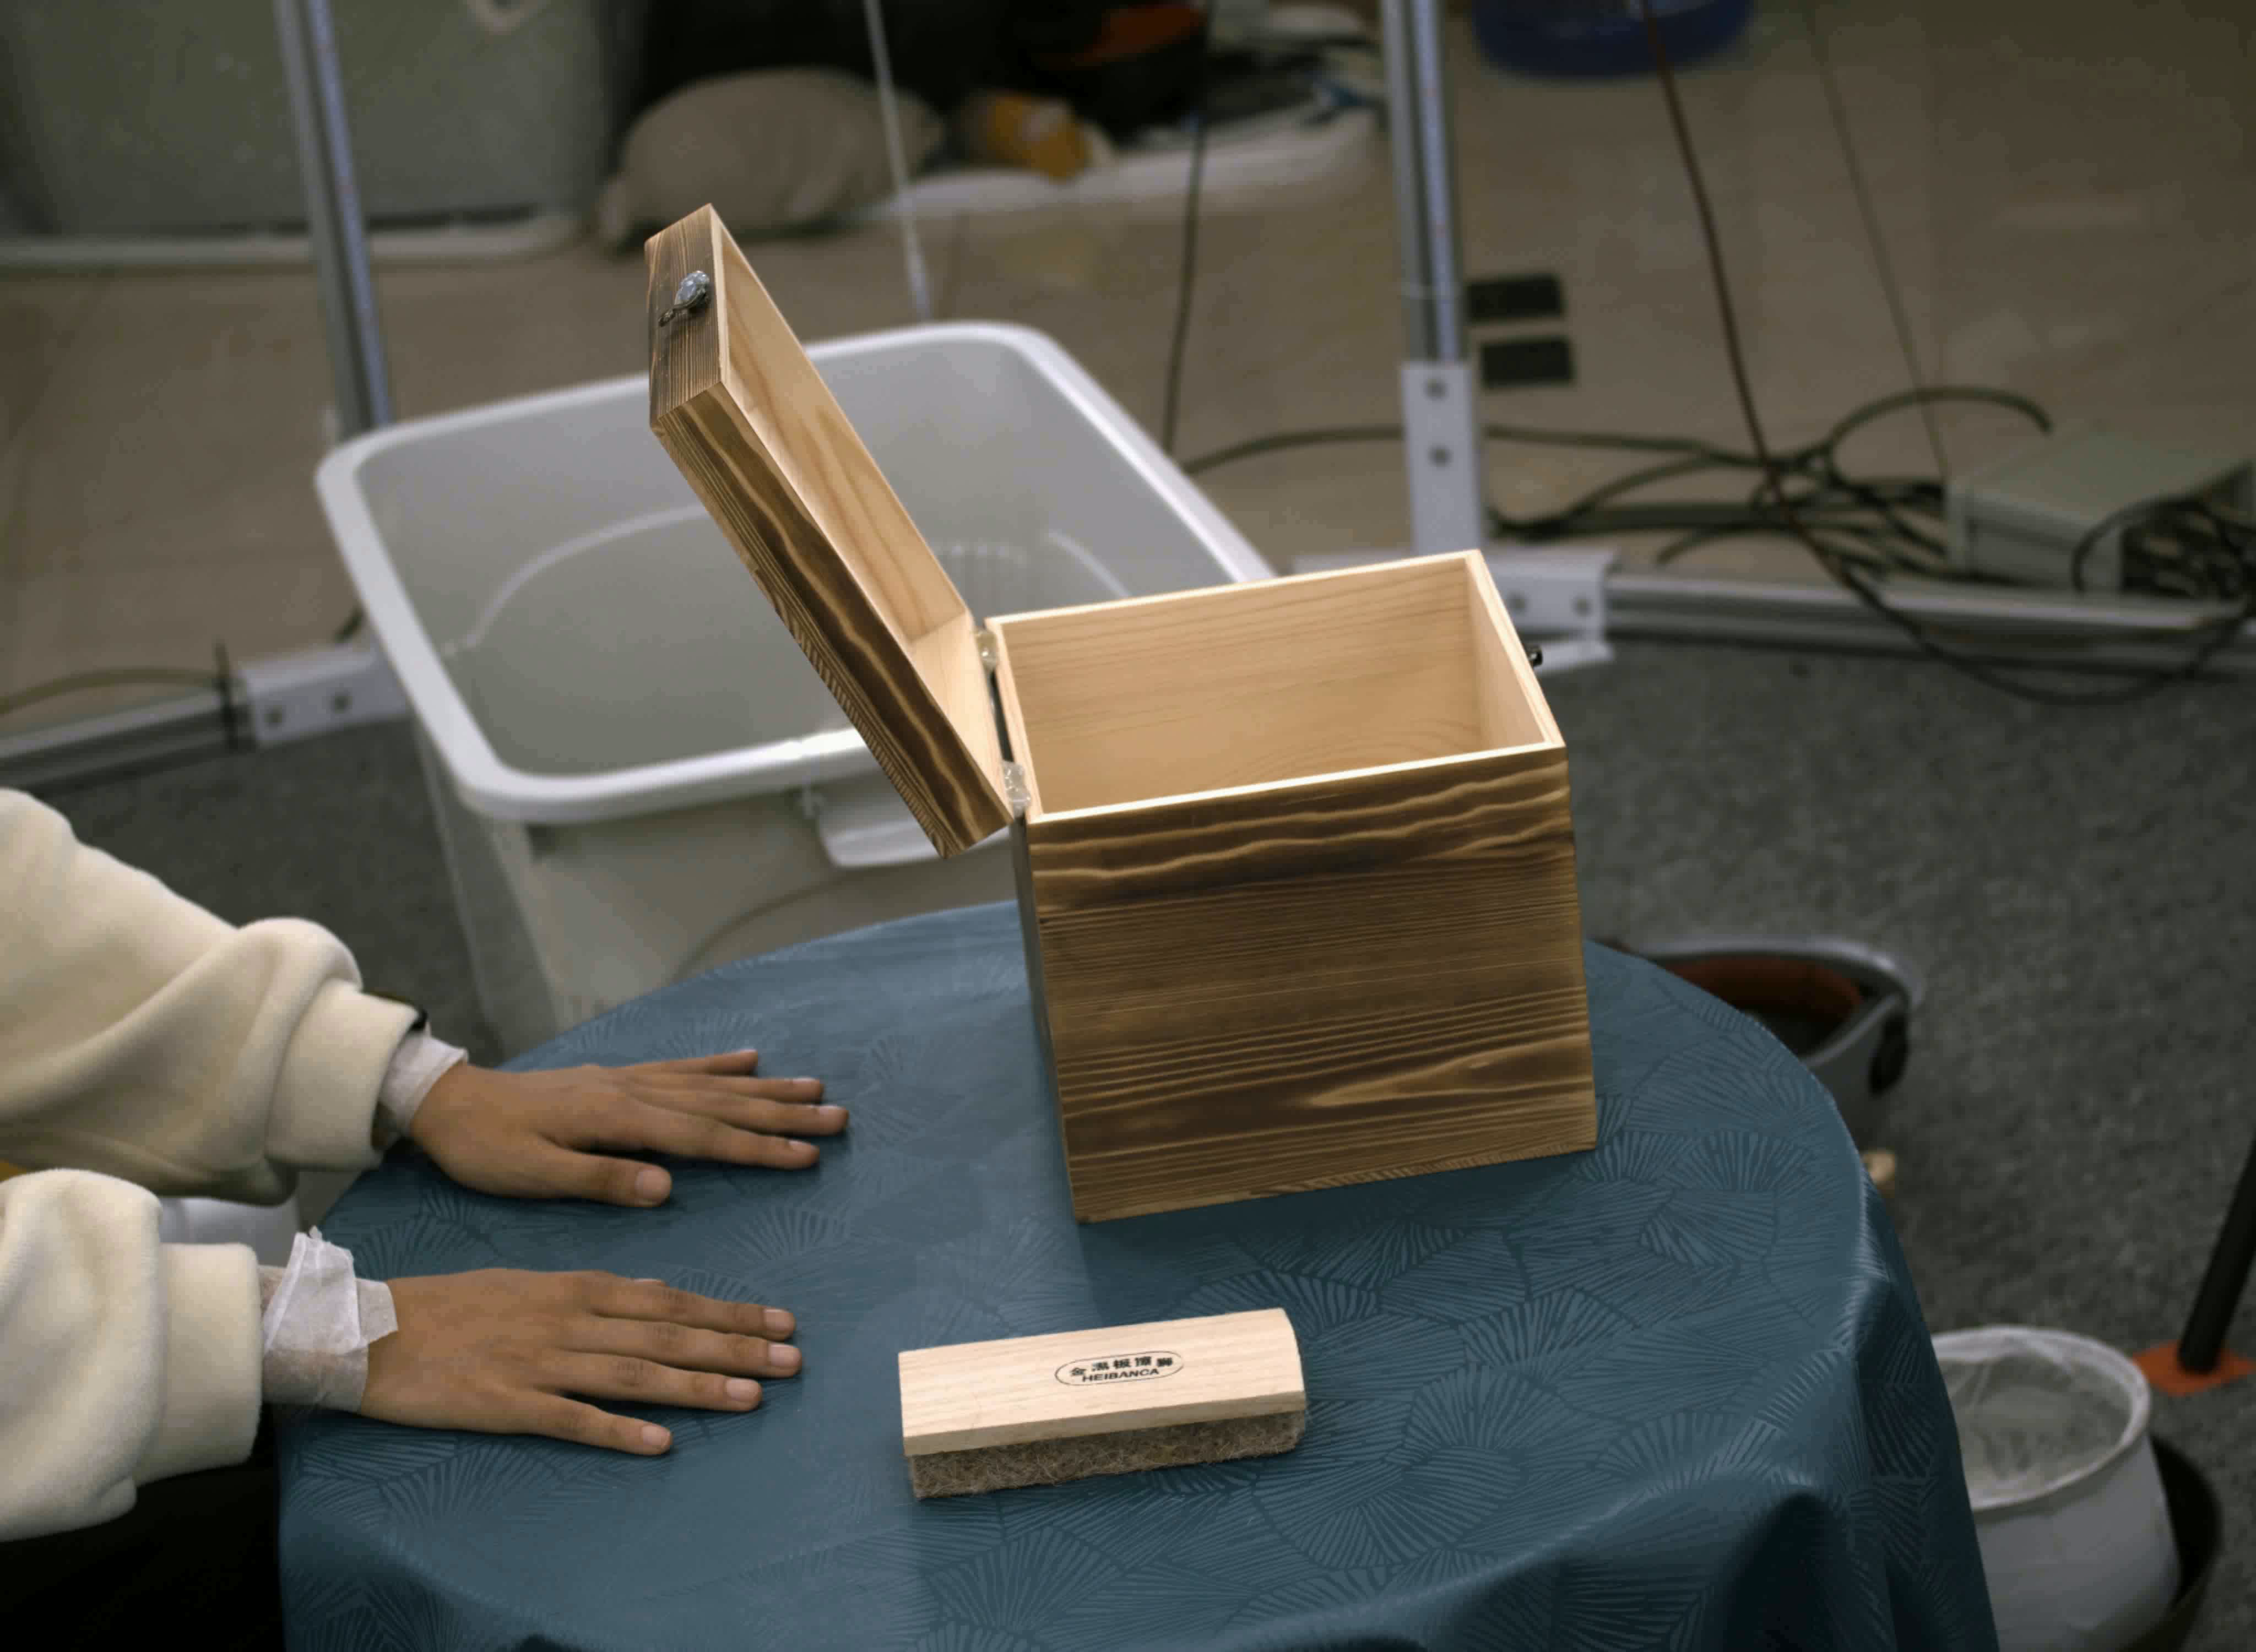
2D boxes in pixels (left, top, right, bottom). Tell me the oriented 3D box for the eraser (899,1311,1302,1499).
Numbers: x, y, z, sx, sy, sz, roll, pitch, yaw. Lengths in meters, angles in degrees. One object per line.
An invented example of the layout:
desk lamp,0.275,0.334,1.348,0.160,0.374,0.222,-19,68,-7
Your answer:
eraser,-0.009,0.202,1.982,0.139,0.029,0.056,-7,28,1

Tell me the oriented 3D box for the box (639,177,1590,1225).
box,0.000,-0.059,2.137,0.321,0.381,0.205,-8,27,-3
